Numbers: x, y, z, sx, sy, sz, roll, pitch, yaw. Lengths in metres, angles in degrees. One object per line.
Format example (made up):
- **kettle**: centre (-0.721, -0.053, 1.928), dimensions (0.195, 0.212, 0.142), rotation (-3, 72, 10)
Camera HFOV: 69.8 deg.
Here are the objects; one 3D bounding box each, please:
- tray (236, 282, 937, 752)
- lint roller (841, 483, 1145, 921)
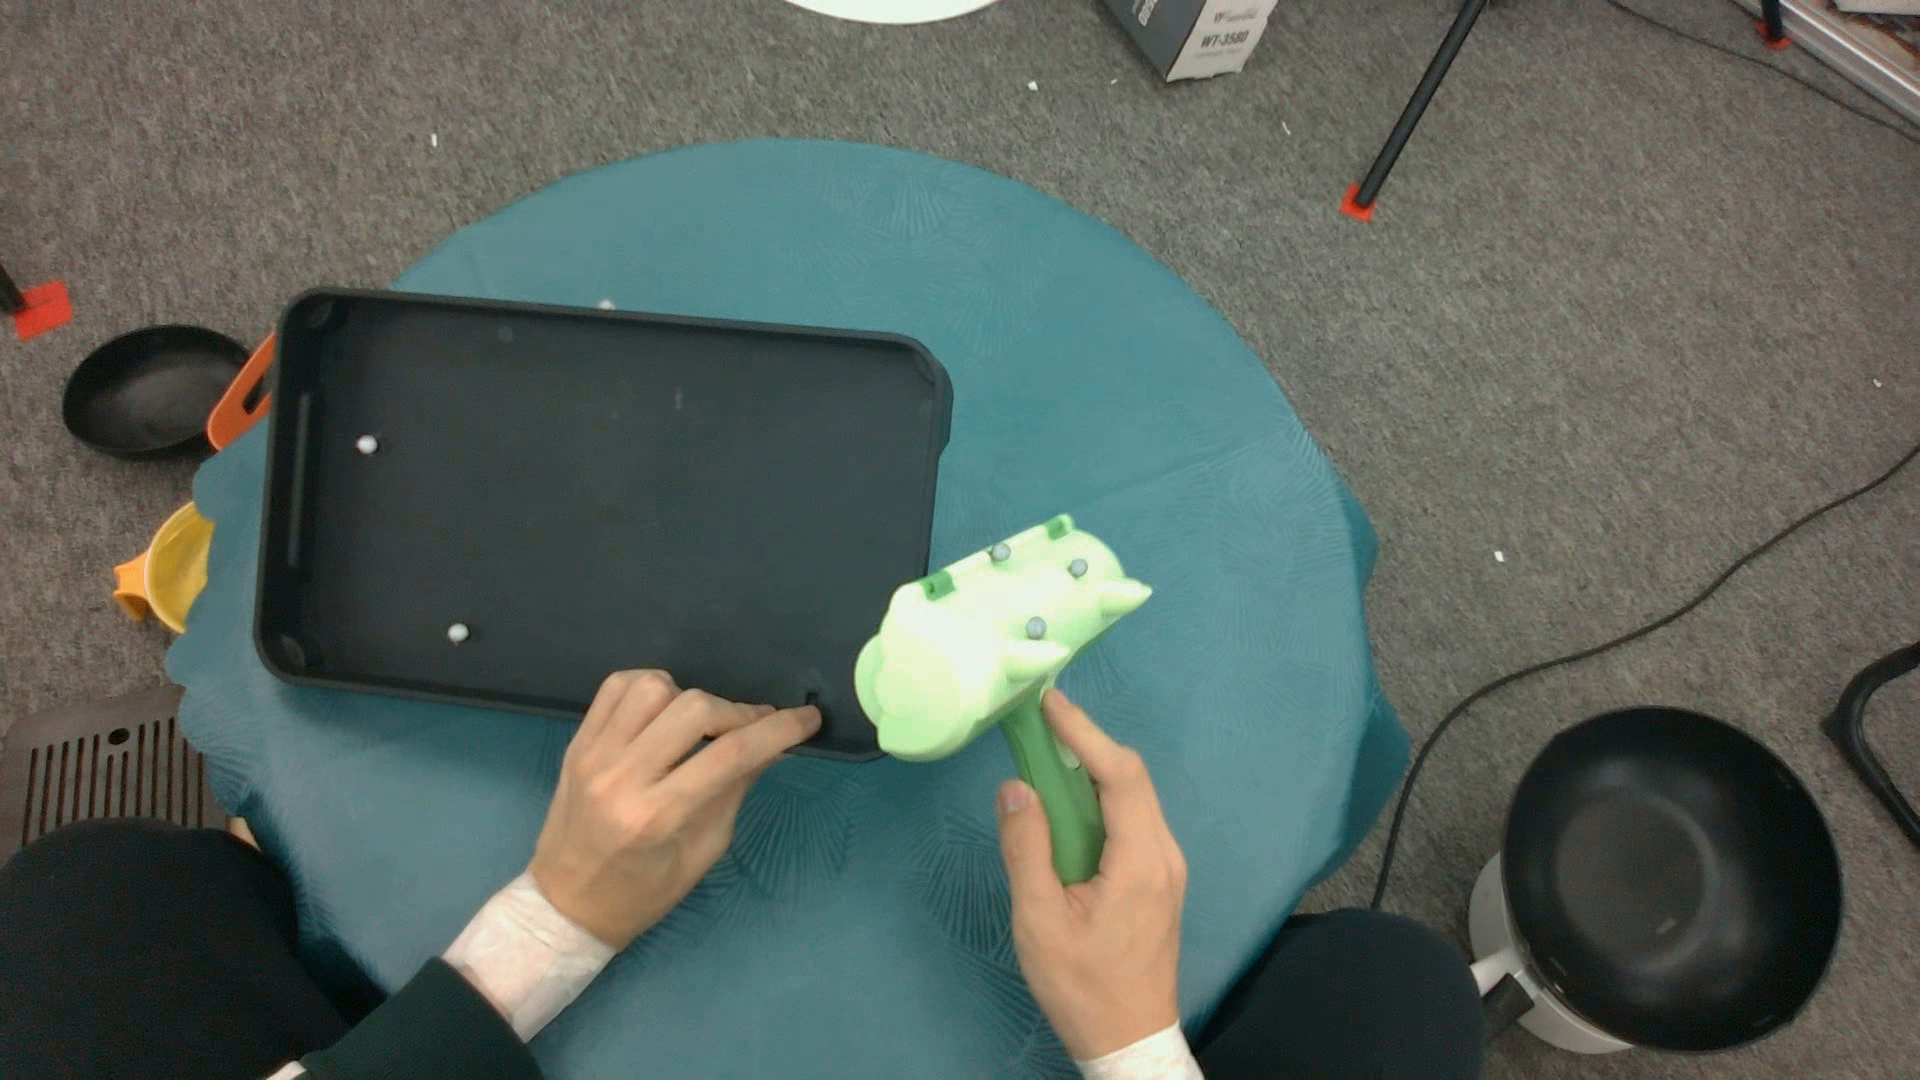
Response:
- **tray**: centre (-0.172, -0.014, 0.625), dimensions (0.318, 0.037, 0.184), rotation (6, 92, 10)
- **lint roller**: centre (0.046, 0.073, 0.595), dimensions (0.183, 0.082, 0.199), rotation (64, 28, 1)
